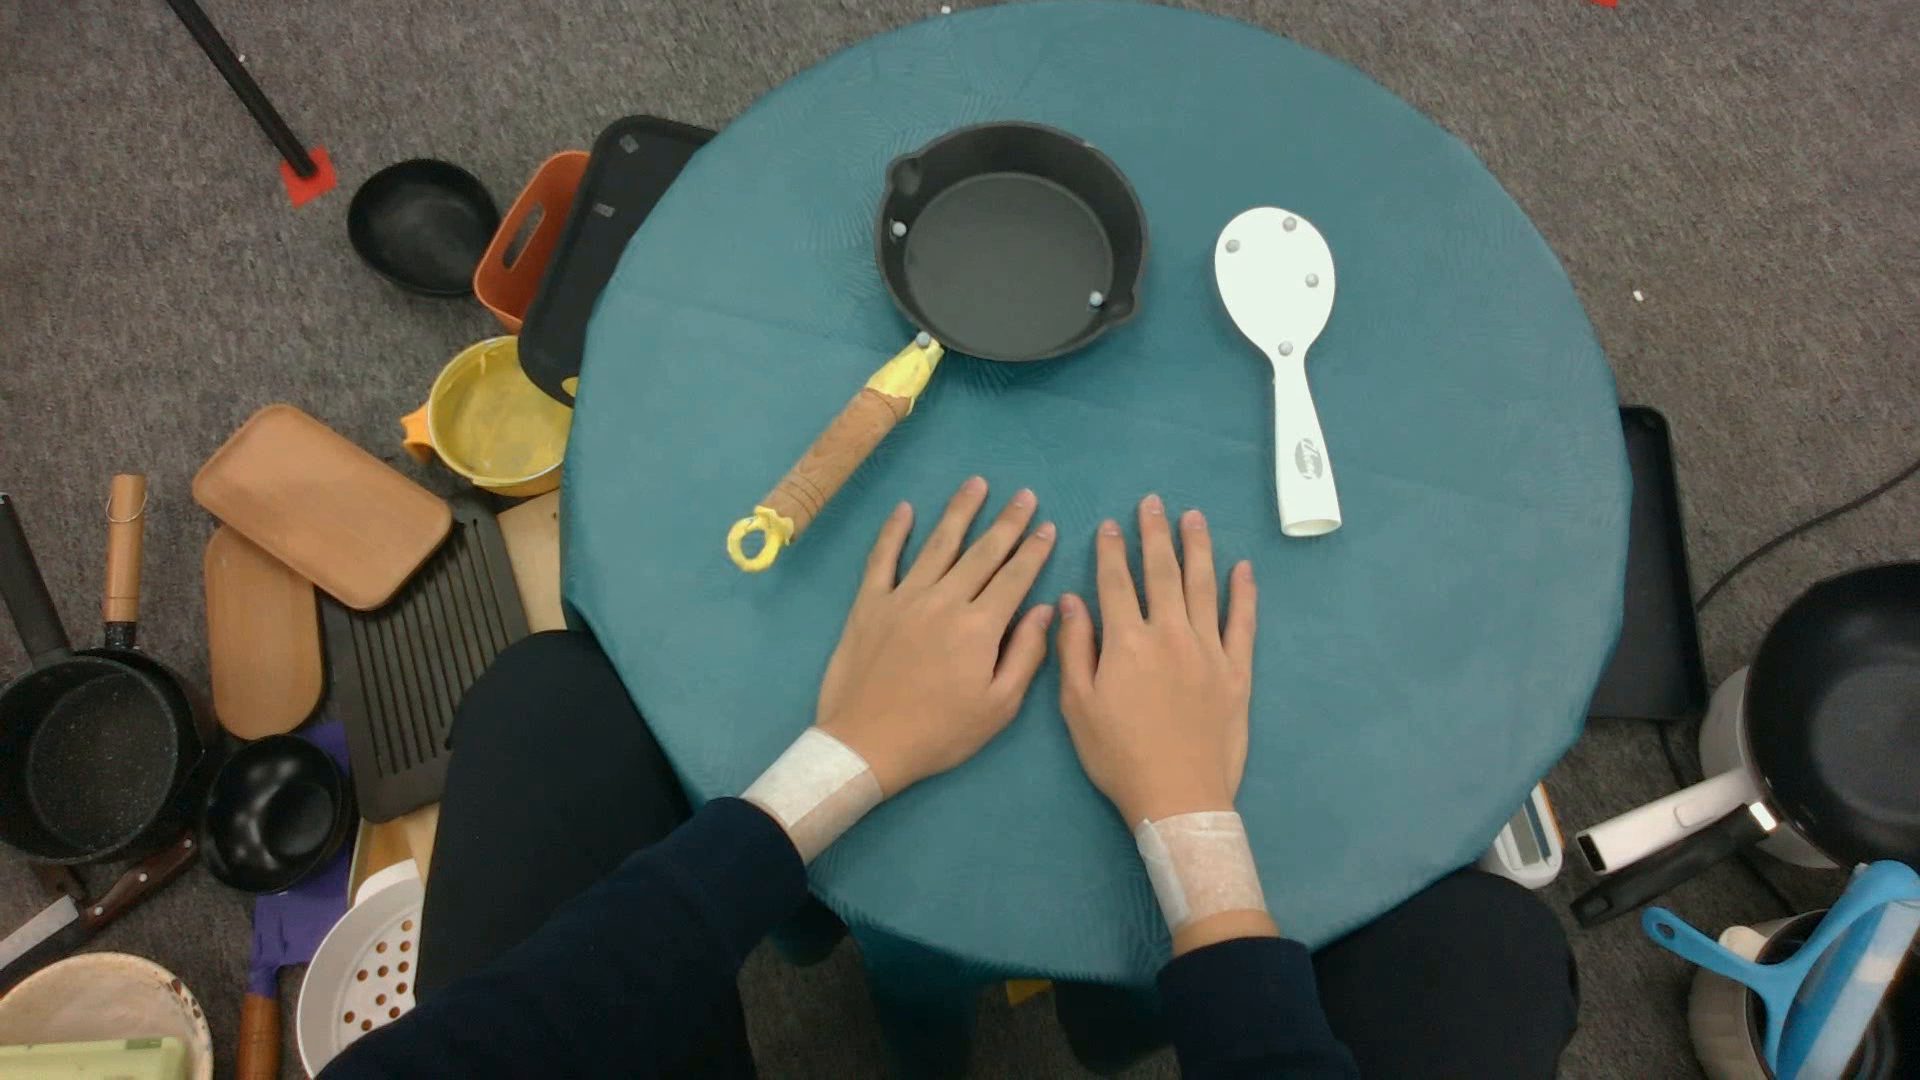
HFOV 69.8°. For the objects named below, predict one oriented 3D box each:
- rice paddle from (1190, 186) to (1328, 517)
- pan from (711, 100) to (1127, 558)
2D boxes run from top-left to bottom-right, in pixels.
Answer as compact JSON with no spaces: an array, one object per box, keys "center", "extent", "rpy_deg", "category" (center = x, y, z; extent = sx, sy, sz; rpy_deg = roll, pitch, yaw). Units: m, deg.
[{"center":[0.174,-0.114,0.783],"extent":[0.069,0.029,0.206],"rpy_deg":[-4,72,-6],"category":"rice paddle"},{"center":[-0.032,-0.116,0.764],"extent":[0.169,0.049,0.325],"rpy_deg":[35,72,9],"category":"pan"}]
